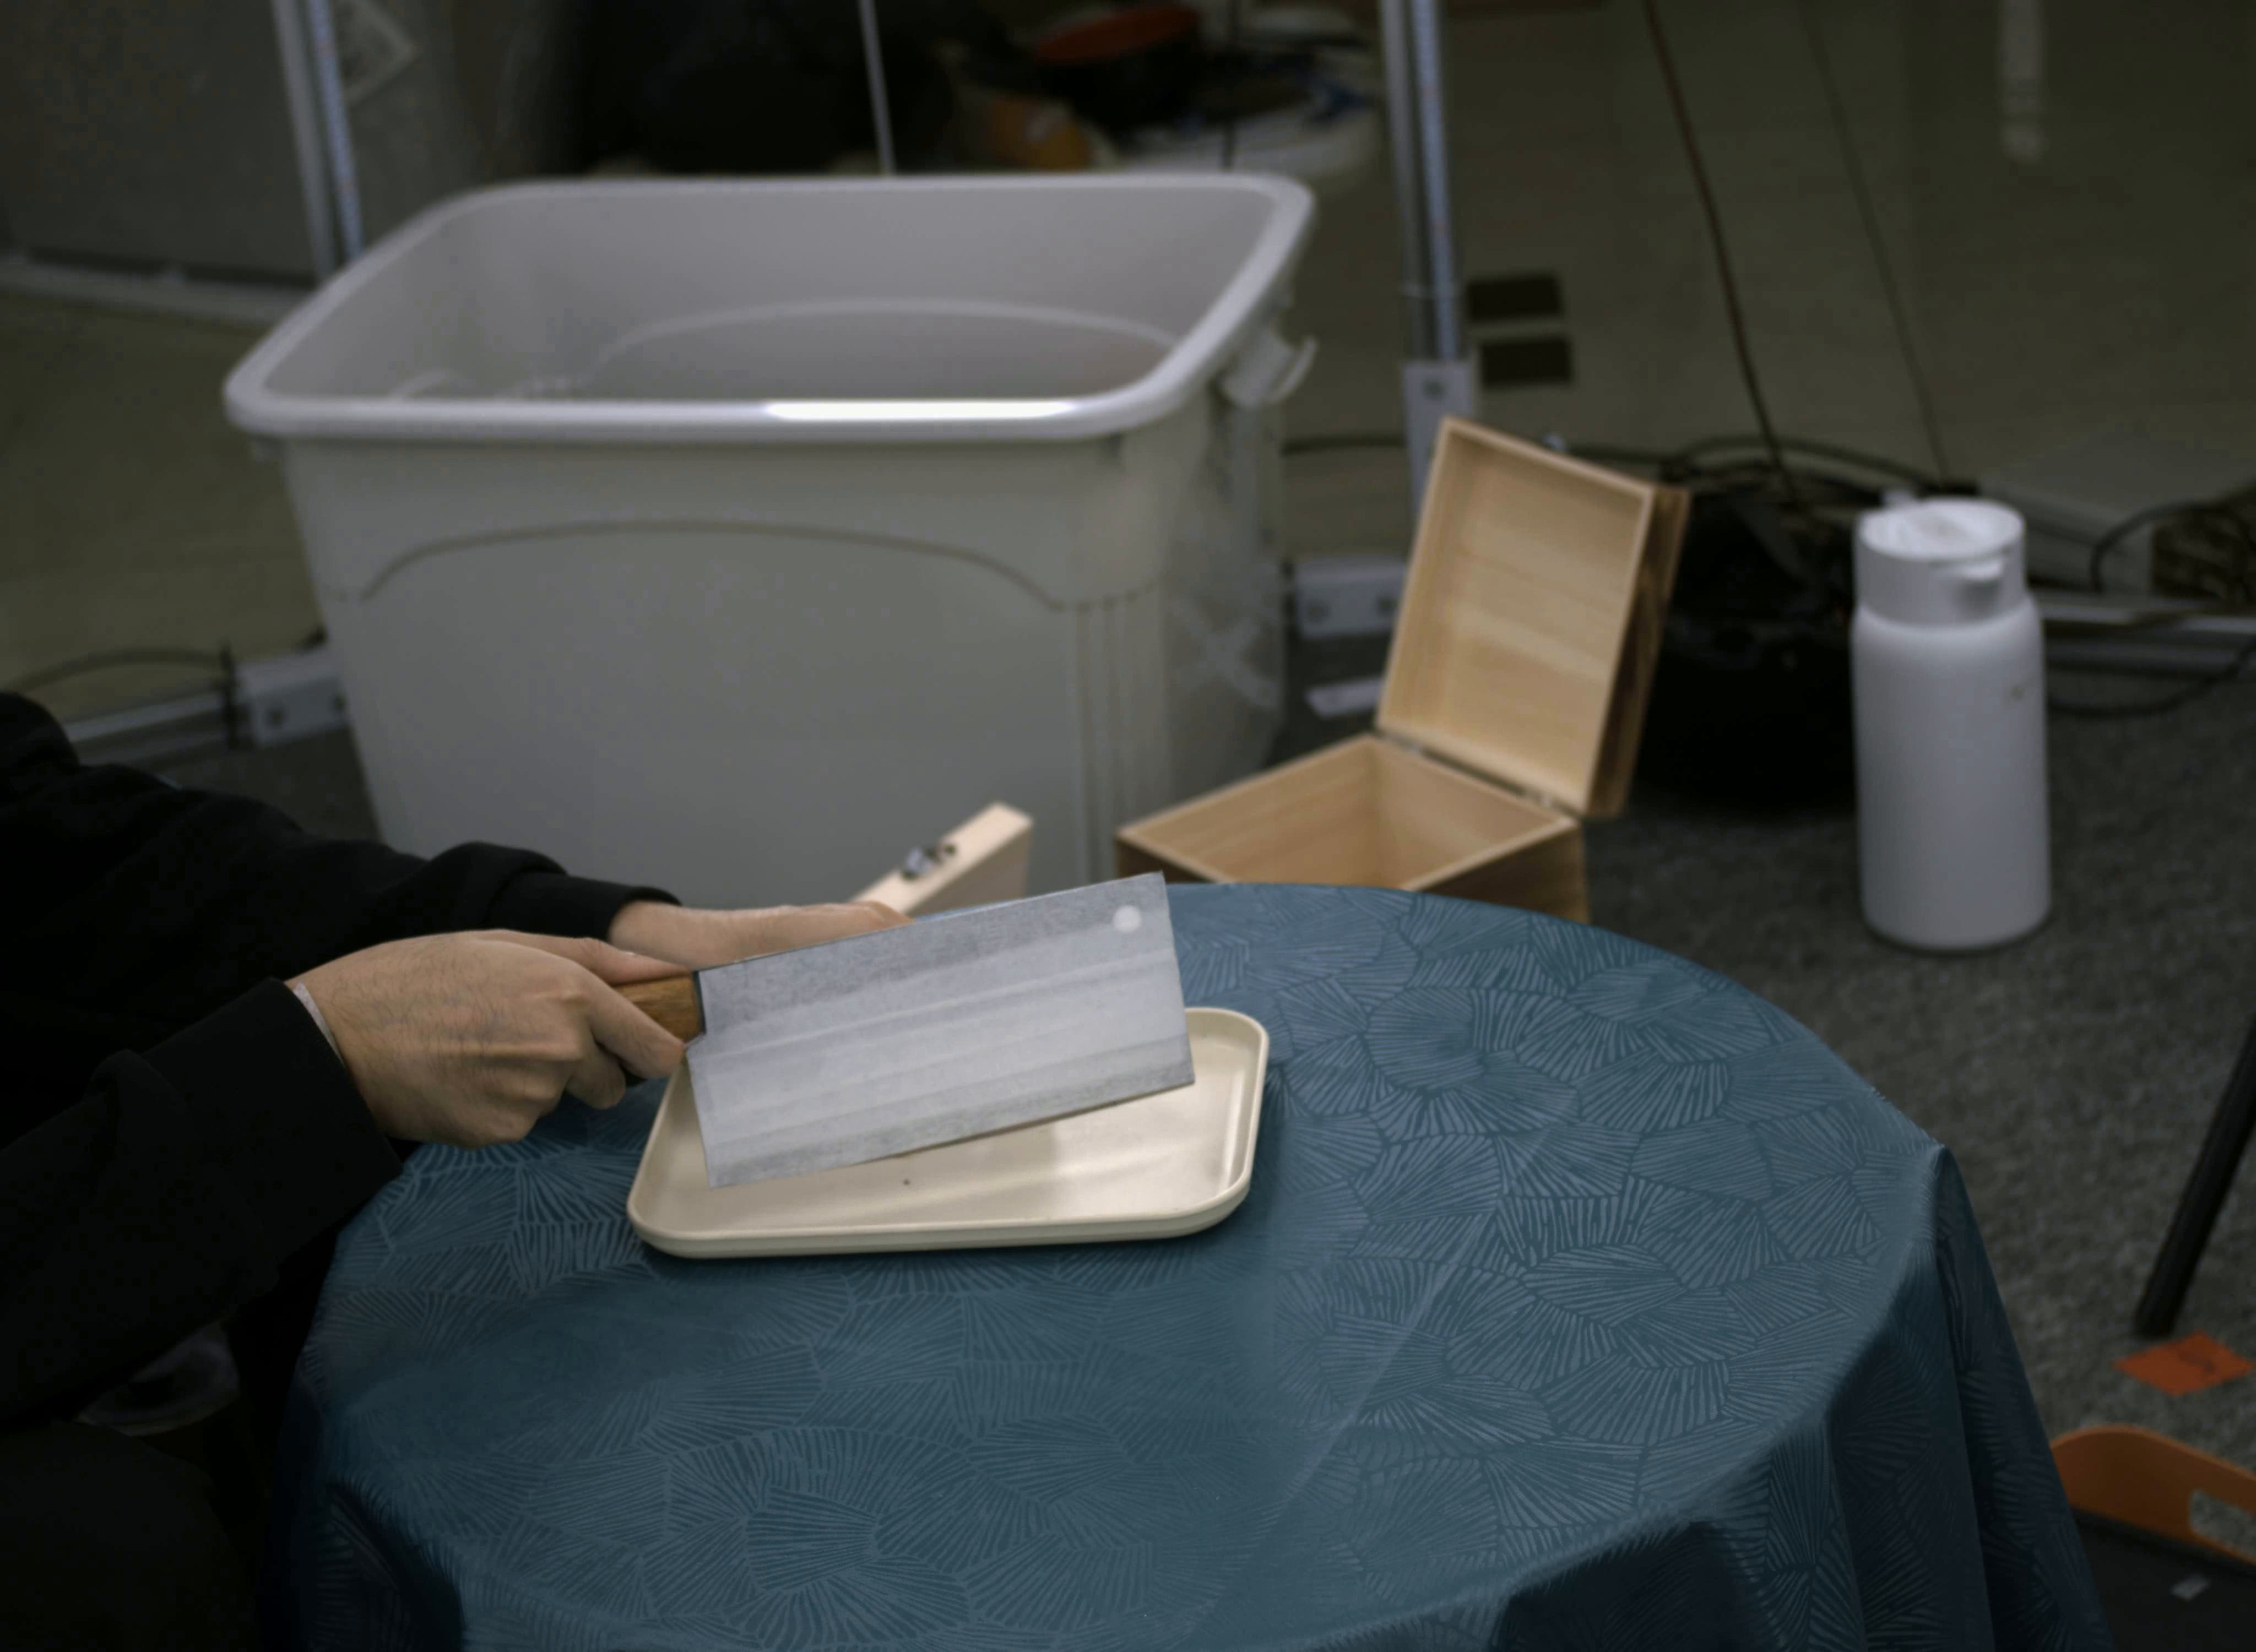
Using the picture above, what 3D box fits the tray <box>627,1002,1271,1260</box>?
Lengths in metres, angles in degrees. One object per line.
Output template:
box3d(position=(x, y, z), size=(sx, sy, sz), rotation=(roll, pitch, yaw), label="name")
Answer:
box3d(position=(-0.066, 0.118, 2.183), size=(0.239, 0.018, 0.168), rotation=(-2, 27, 8), label="tray")

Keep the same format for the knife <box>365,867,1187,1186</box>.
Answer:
box3d(position=(-0.128, 0.086, 2.118), size=(0.305, 0.094, 0.021), rotation=(-12, 23, -7), label="knife")
